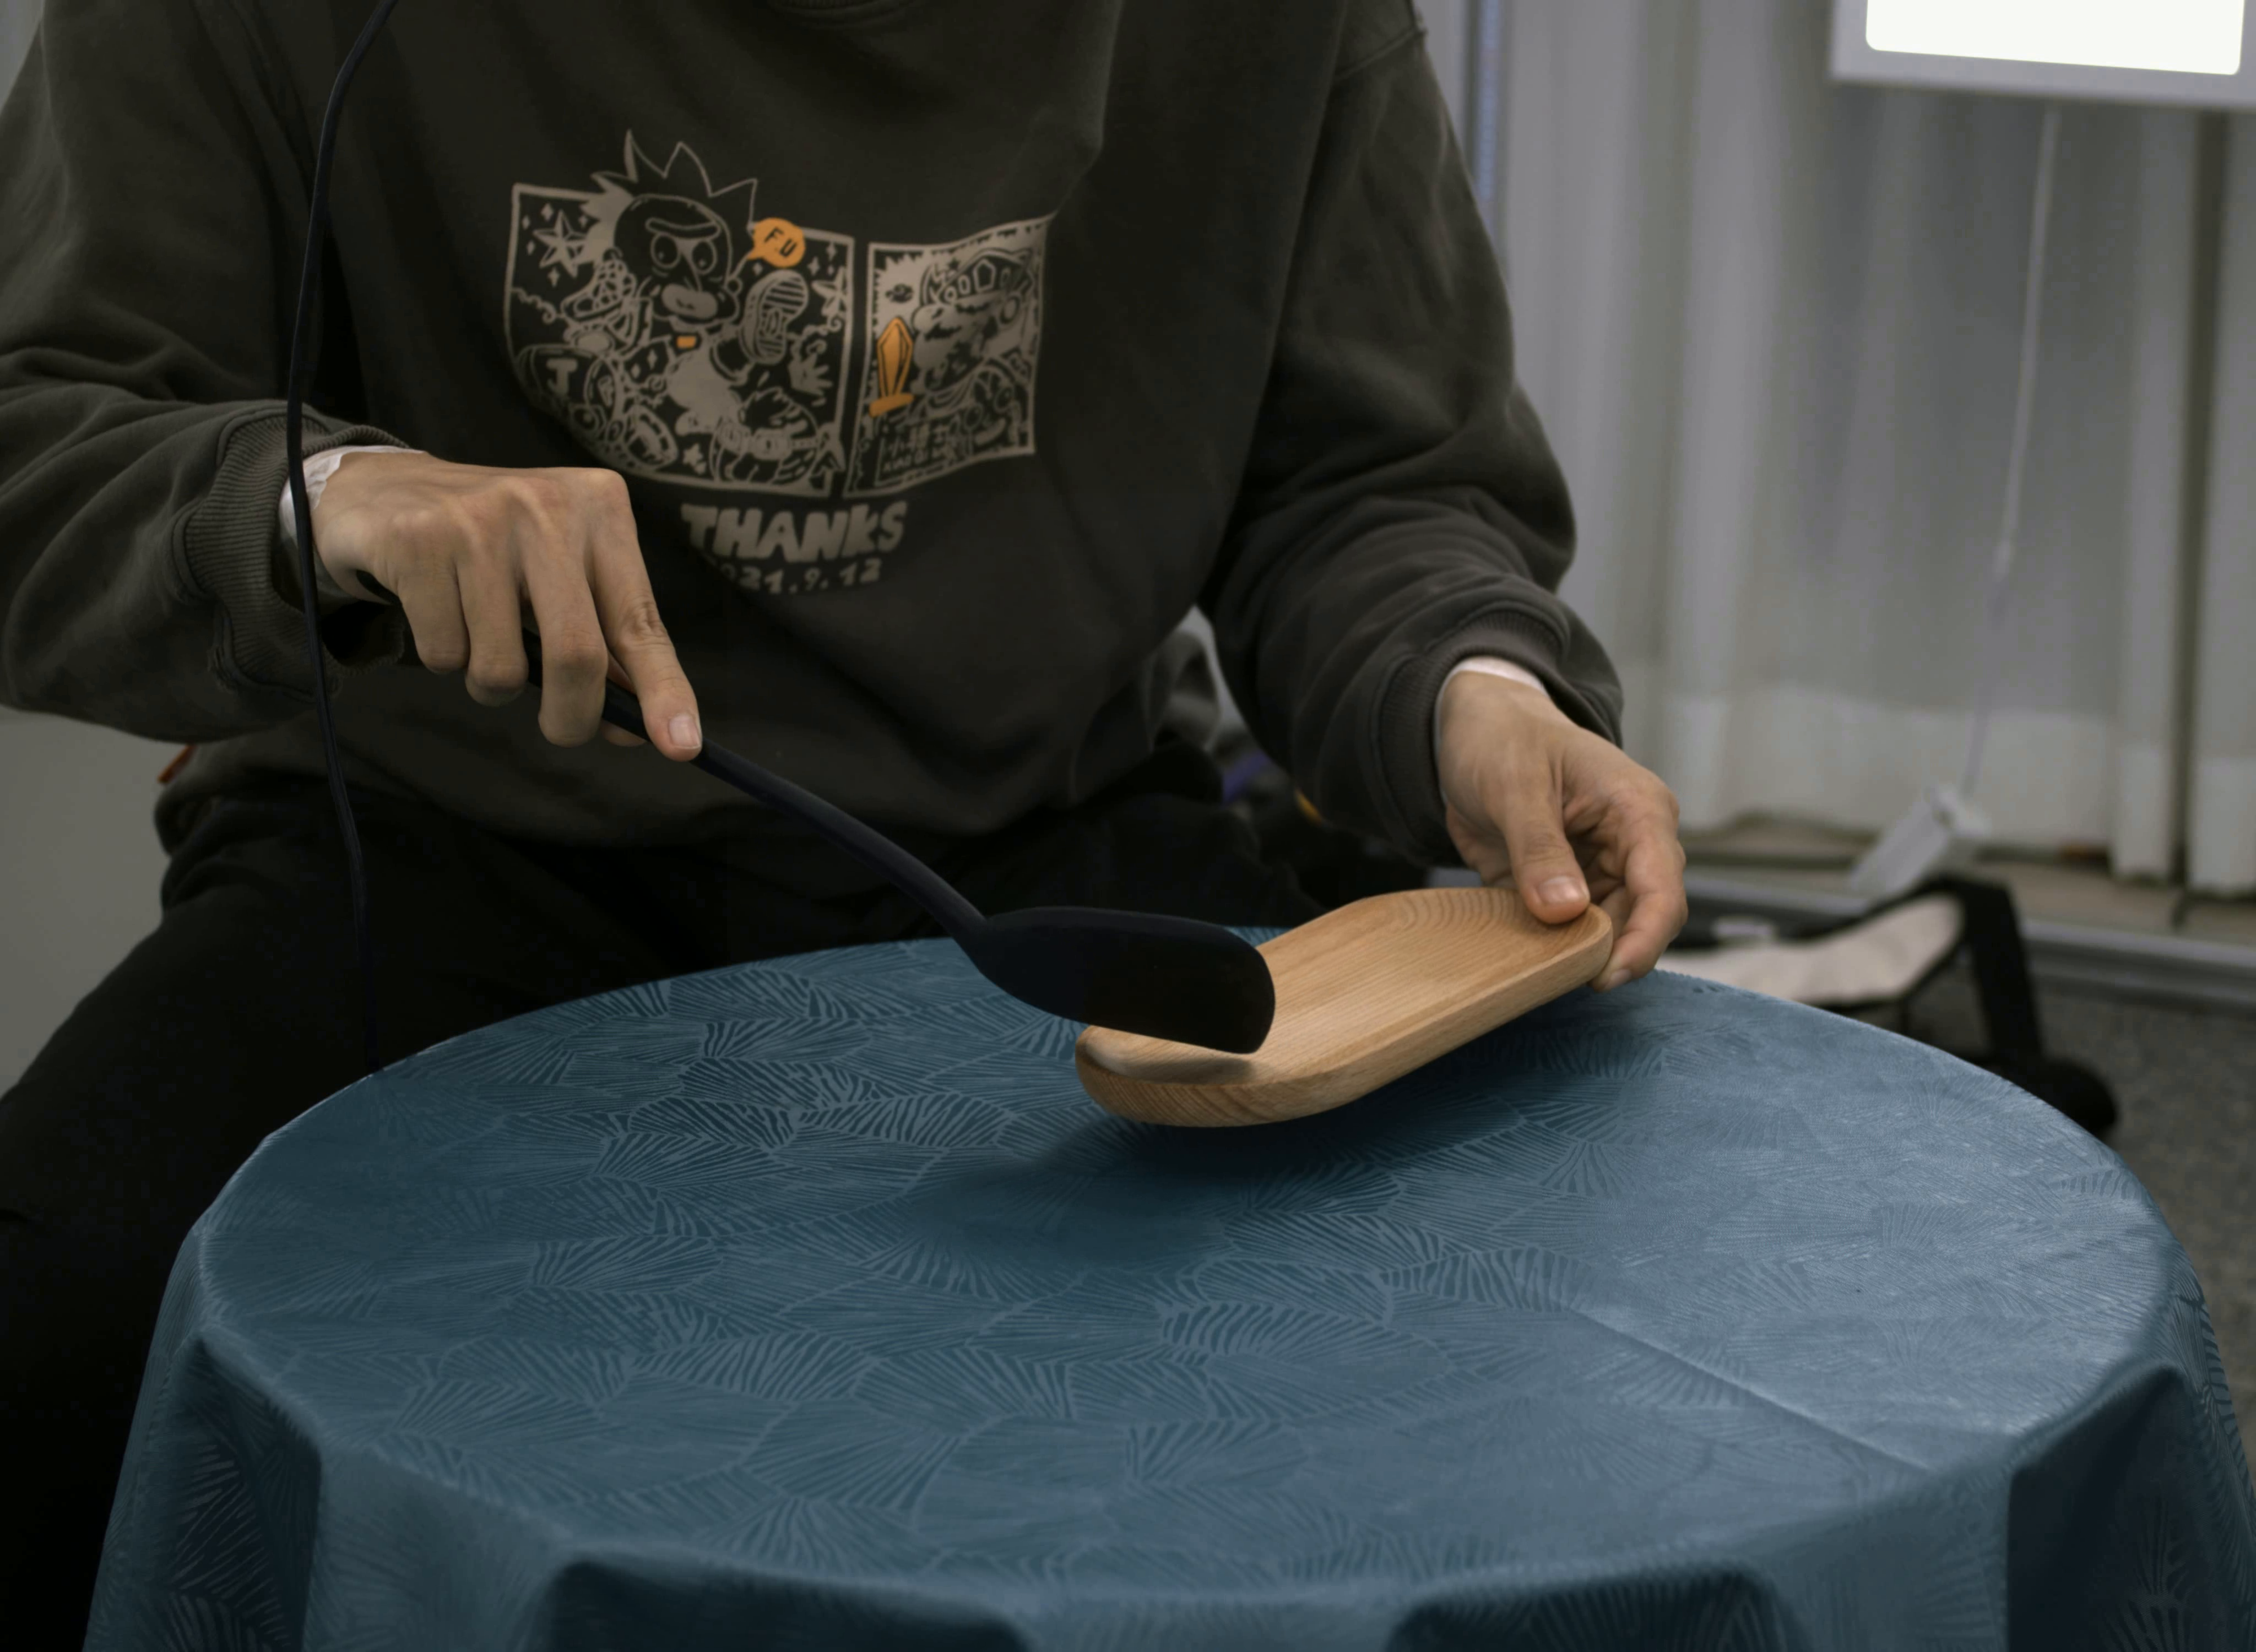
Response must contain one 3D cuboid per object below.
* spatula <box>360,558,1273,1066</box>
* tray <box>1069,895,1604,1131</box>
[{"bbox_3d":[-0.101,-0.011,1.649,0.324,0.040,0.100,32,-21,11],"label":"spatula"},{"bbox_3d":[0.071,0.059,1.714,0.100,0.020,0.232,7,19,36],"label":"tray"}]
